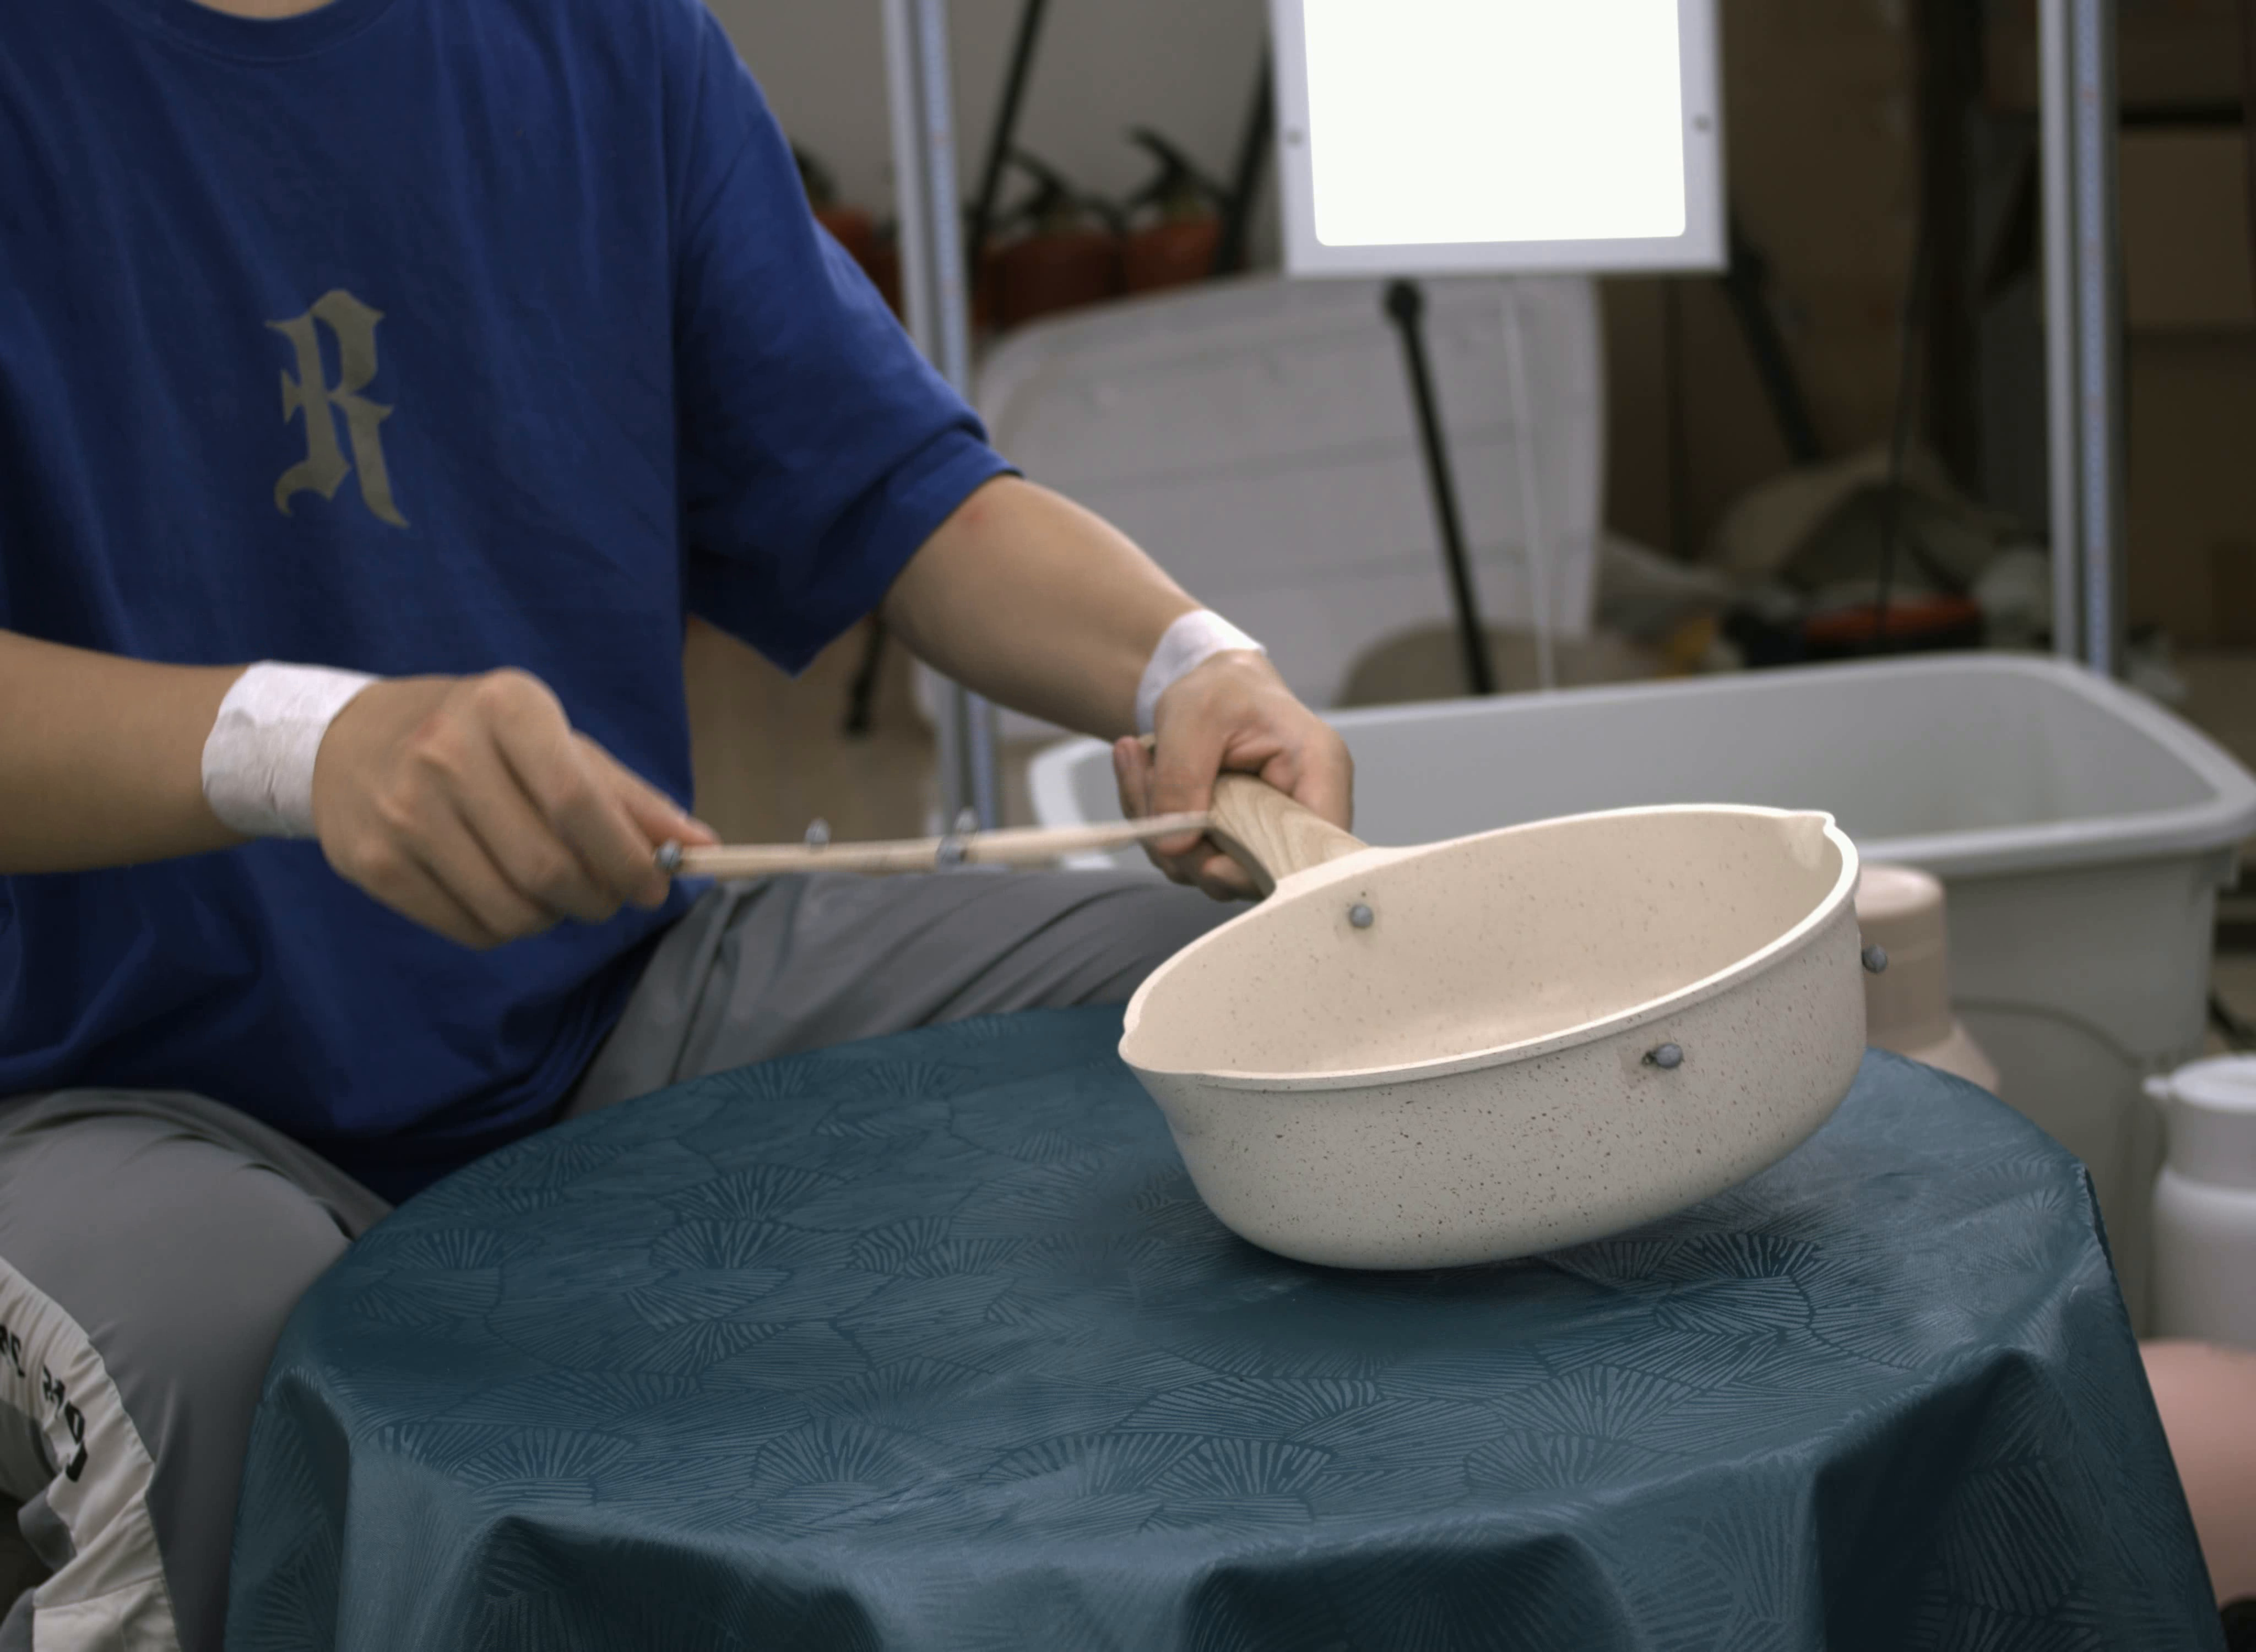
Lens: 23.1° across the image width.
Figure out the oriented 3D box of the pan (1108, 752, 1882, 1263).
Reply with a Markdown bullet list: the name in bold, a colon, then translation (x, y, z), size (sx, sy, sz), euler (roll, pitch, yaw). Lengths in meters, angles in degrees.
- **pan**: translation (0.099, 0.049, 1.919), size (0.259, 0.102, 0.441), euler (-22, 15, -17)

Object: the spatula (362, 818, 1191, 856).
- **spatula**: translation (-0.123, 0.004, 1.773), size (0.298, 0.011, 0.071), euler (0, 4, 29)
